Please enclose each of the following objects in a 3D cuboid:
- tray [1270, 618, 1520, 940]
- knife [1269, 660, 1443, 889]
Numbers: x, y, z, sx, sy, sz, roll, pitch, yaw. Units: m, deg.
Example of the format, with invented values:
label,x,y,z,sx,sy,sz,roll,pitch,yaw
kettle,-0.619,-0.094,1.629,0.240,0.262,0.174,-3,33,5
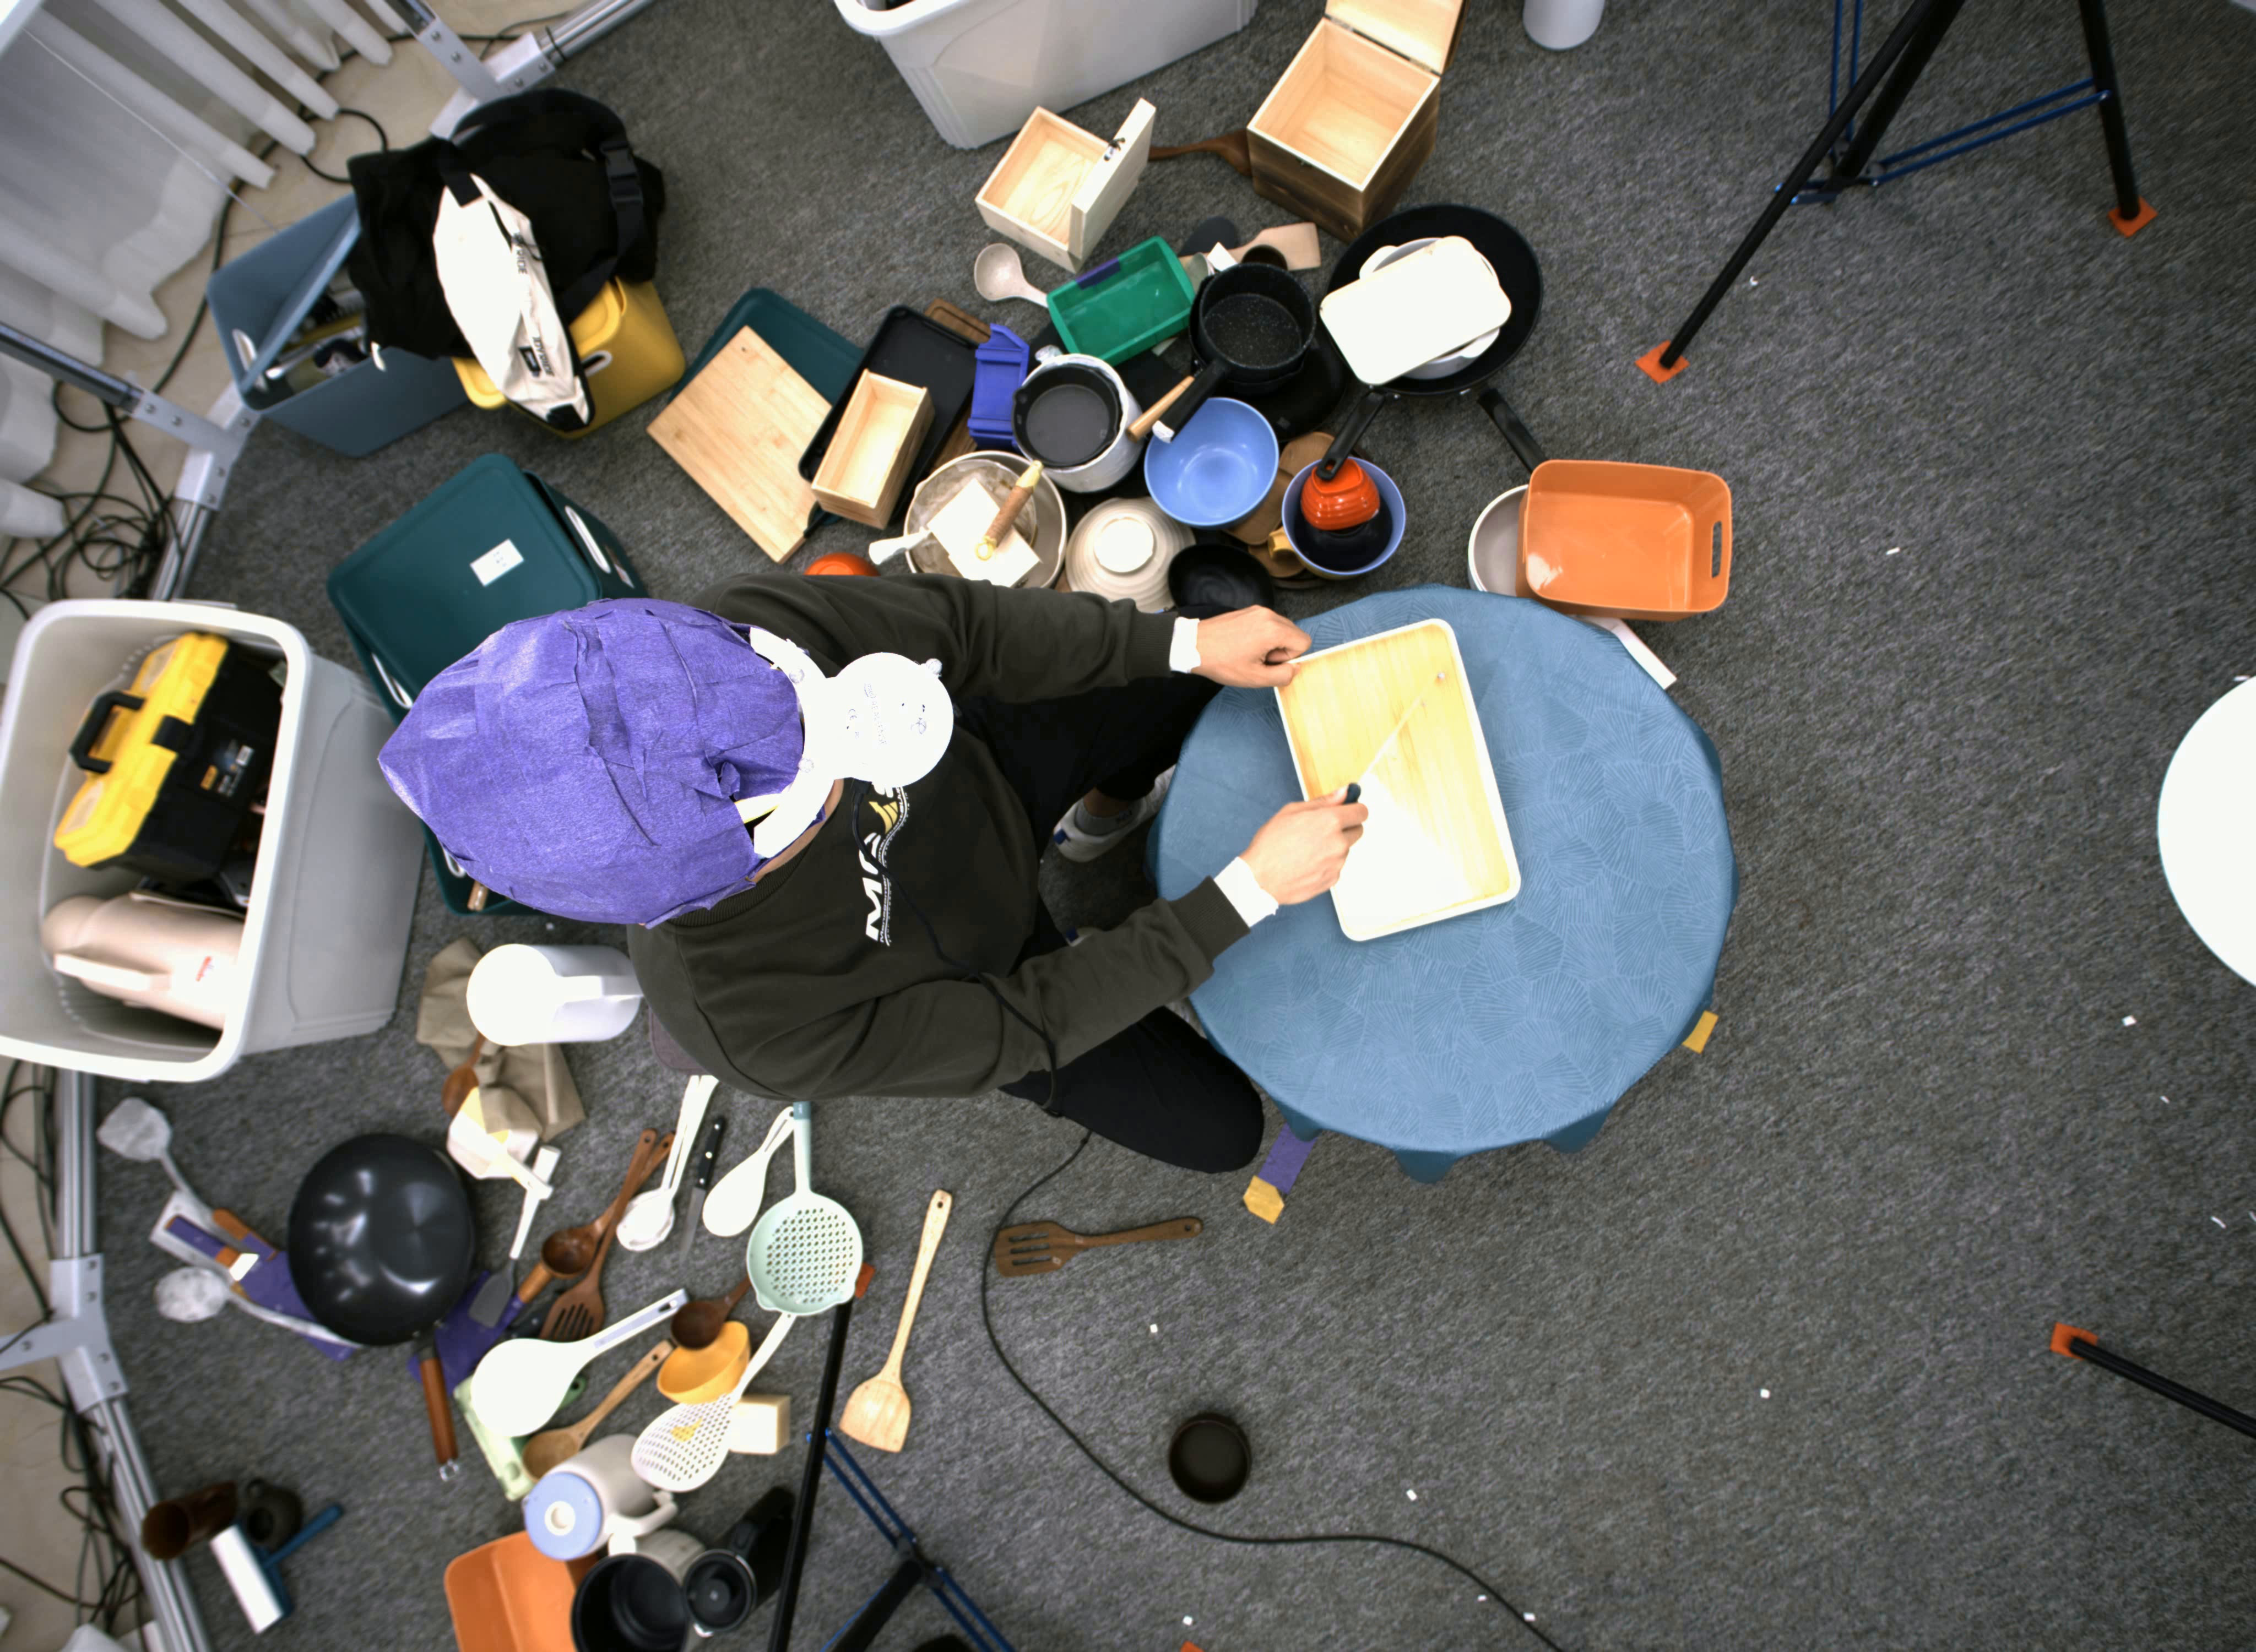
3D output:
label,x,y,z,sx,sy,sz,roll,pitch,yaw
tray,0.275,-0.048,1.418,0.192,0.027,0.301,-15,97,9
knife,0.231,-0.055,1.372,0.027,0.081,0.288,37,86,9
